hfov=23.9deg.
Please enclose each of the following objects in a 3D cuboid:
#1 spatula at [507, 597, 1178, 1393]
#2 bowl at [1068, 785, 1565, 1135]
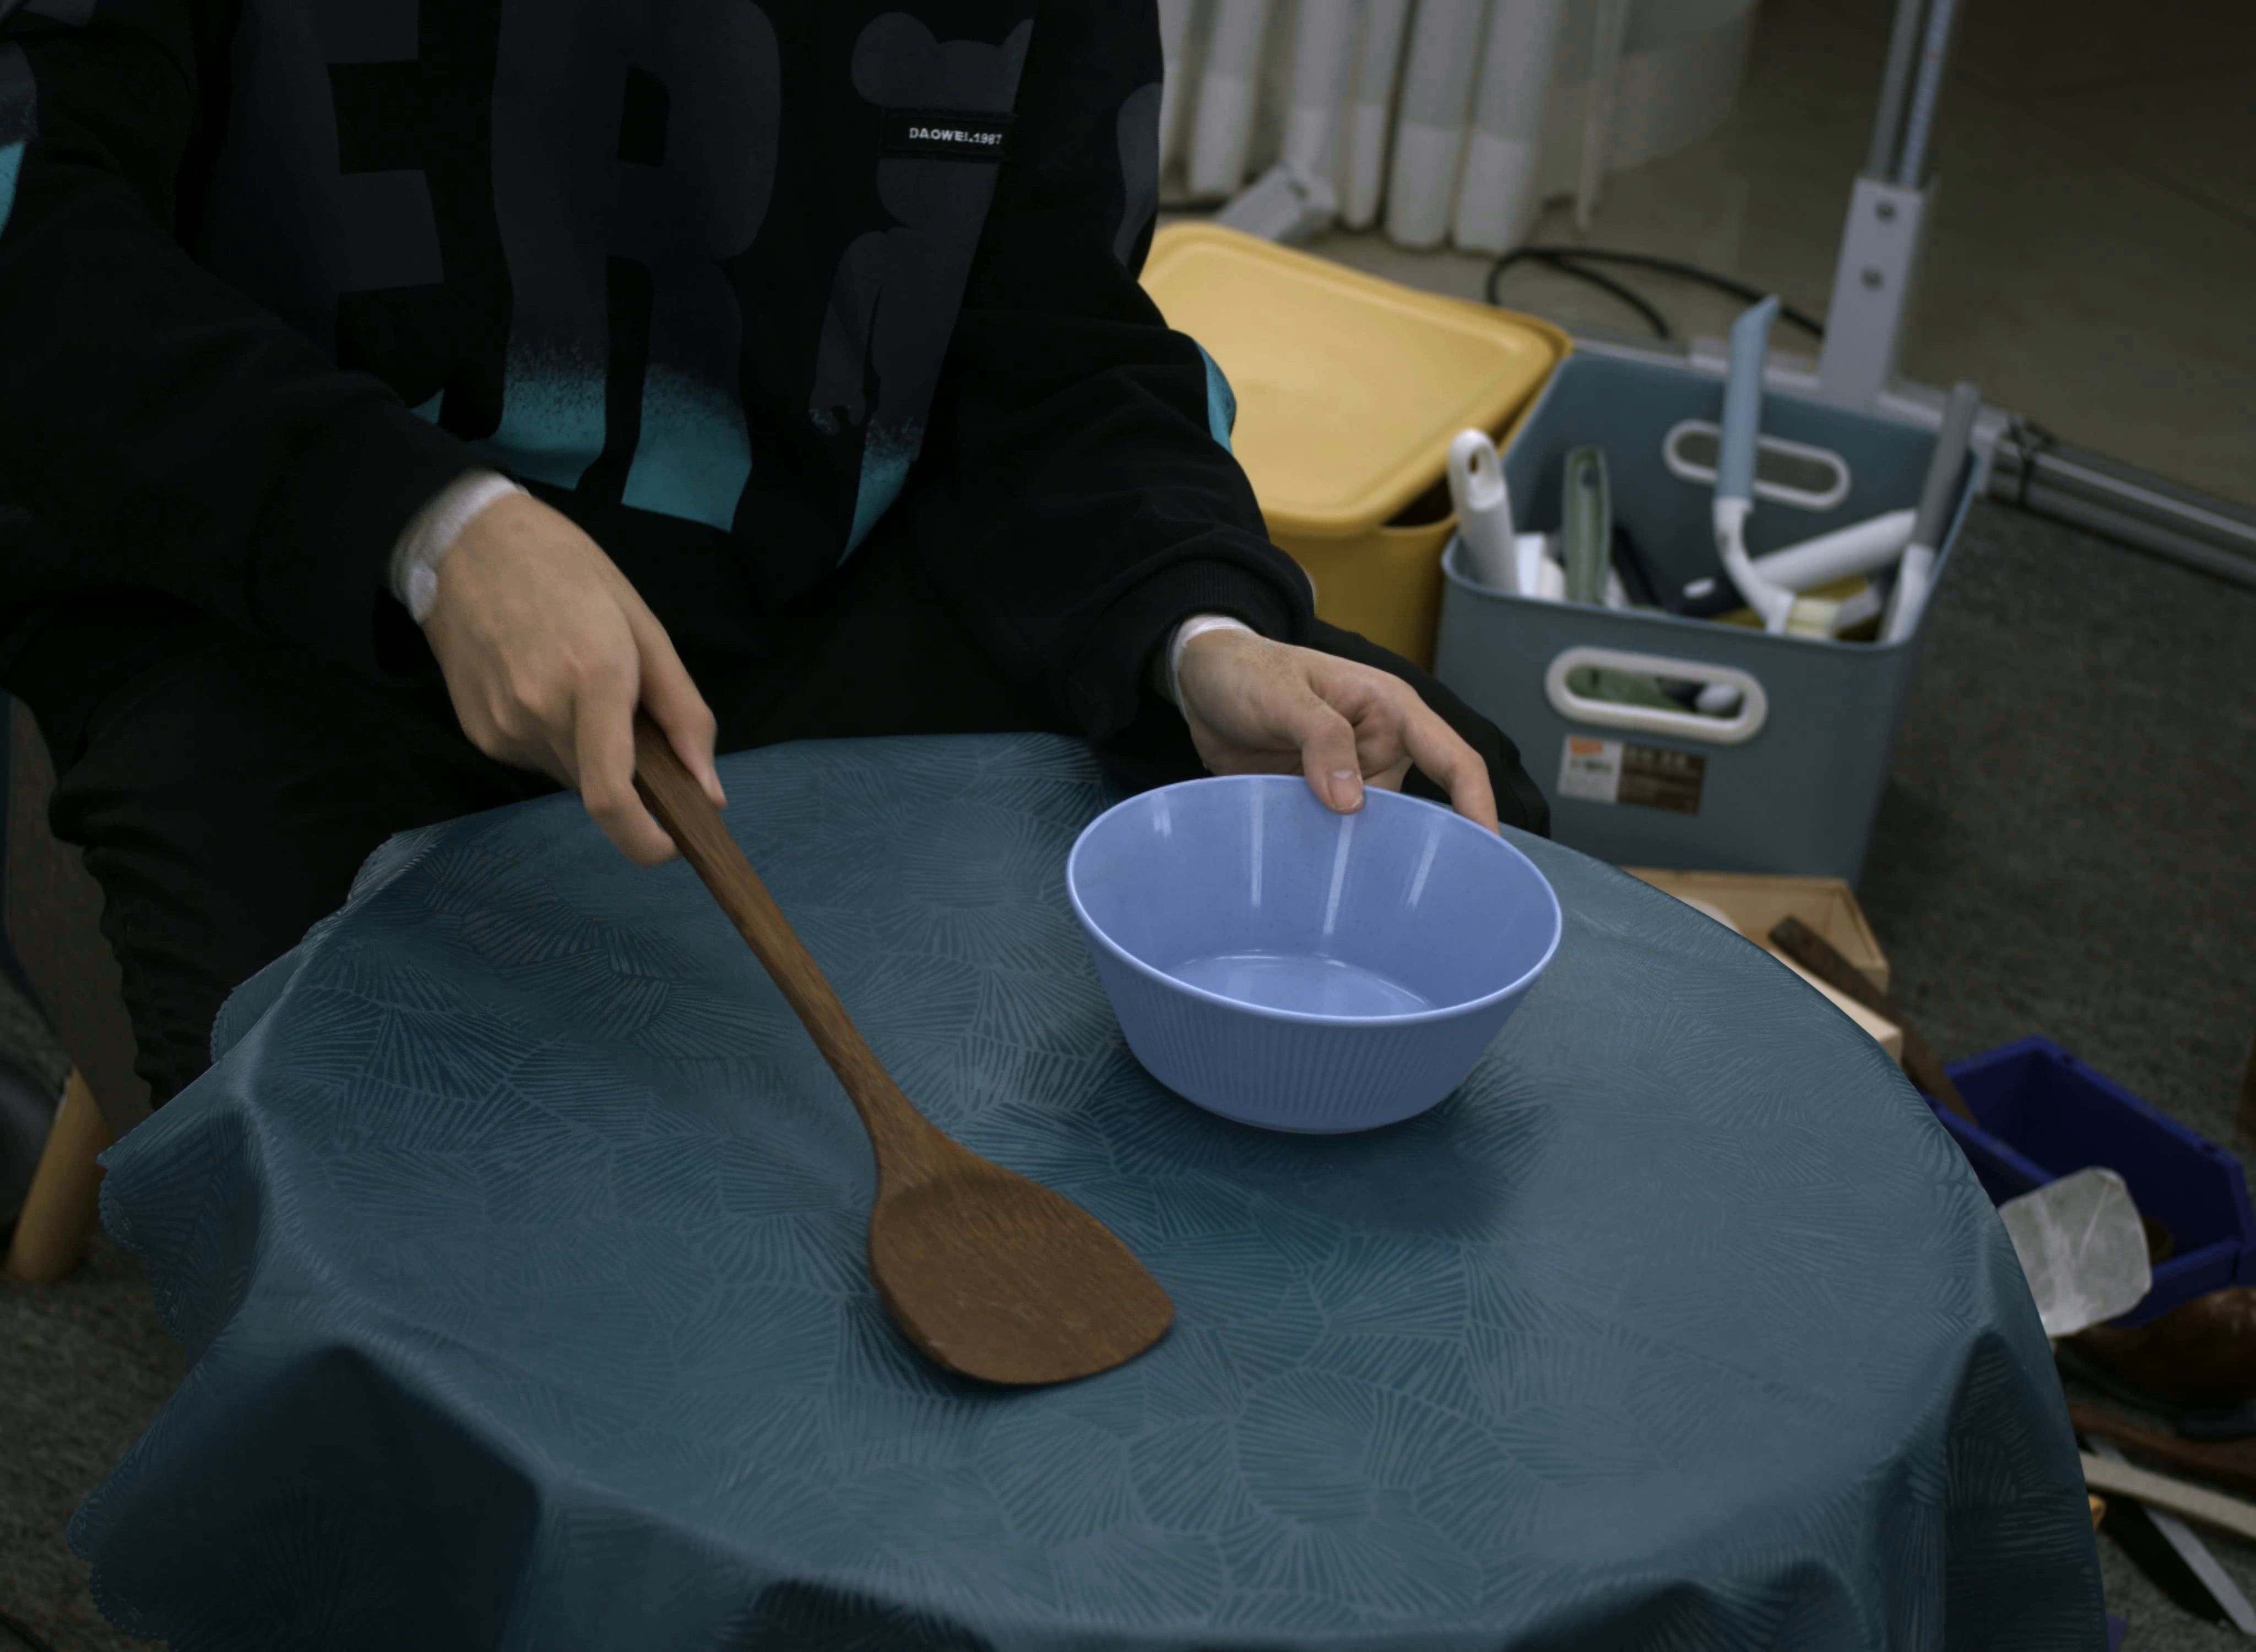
[{"bbox_3d":[-0.114,0.048,1.795,0.095,0.016,0.389,-11,49,-36],"label":"spatula"},{"bbox_3d":[0.063,0.053,1.876,0.175,0.070,0.177,4,26,-2],"label":"bowl"}]
